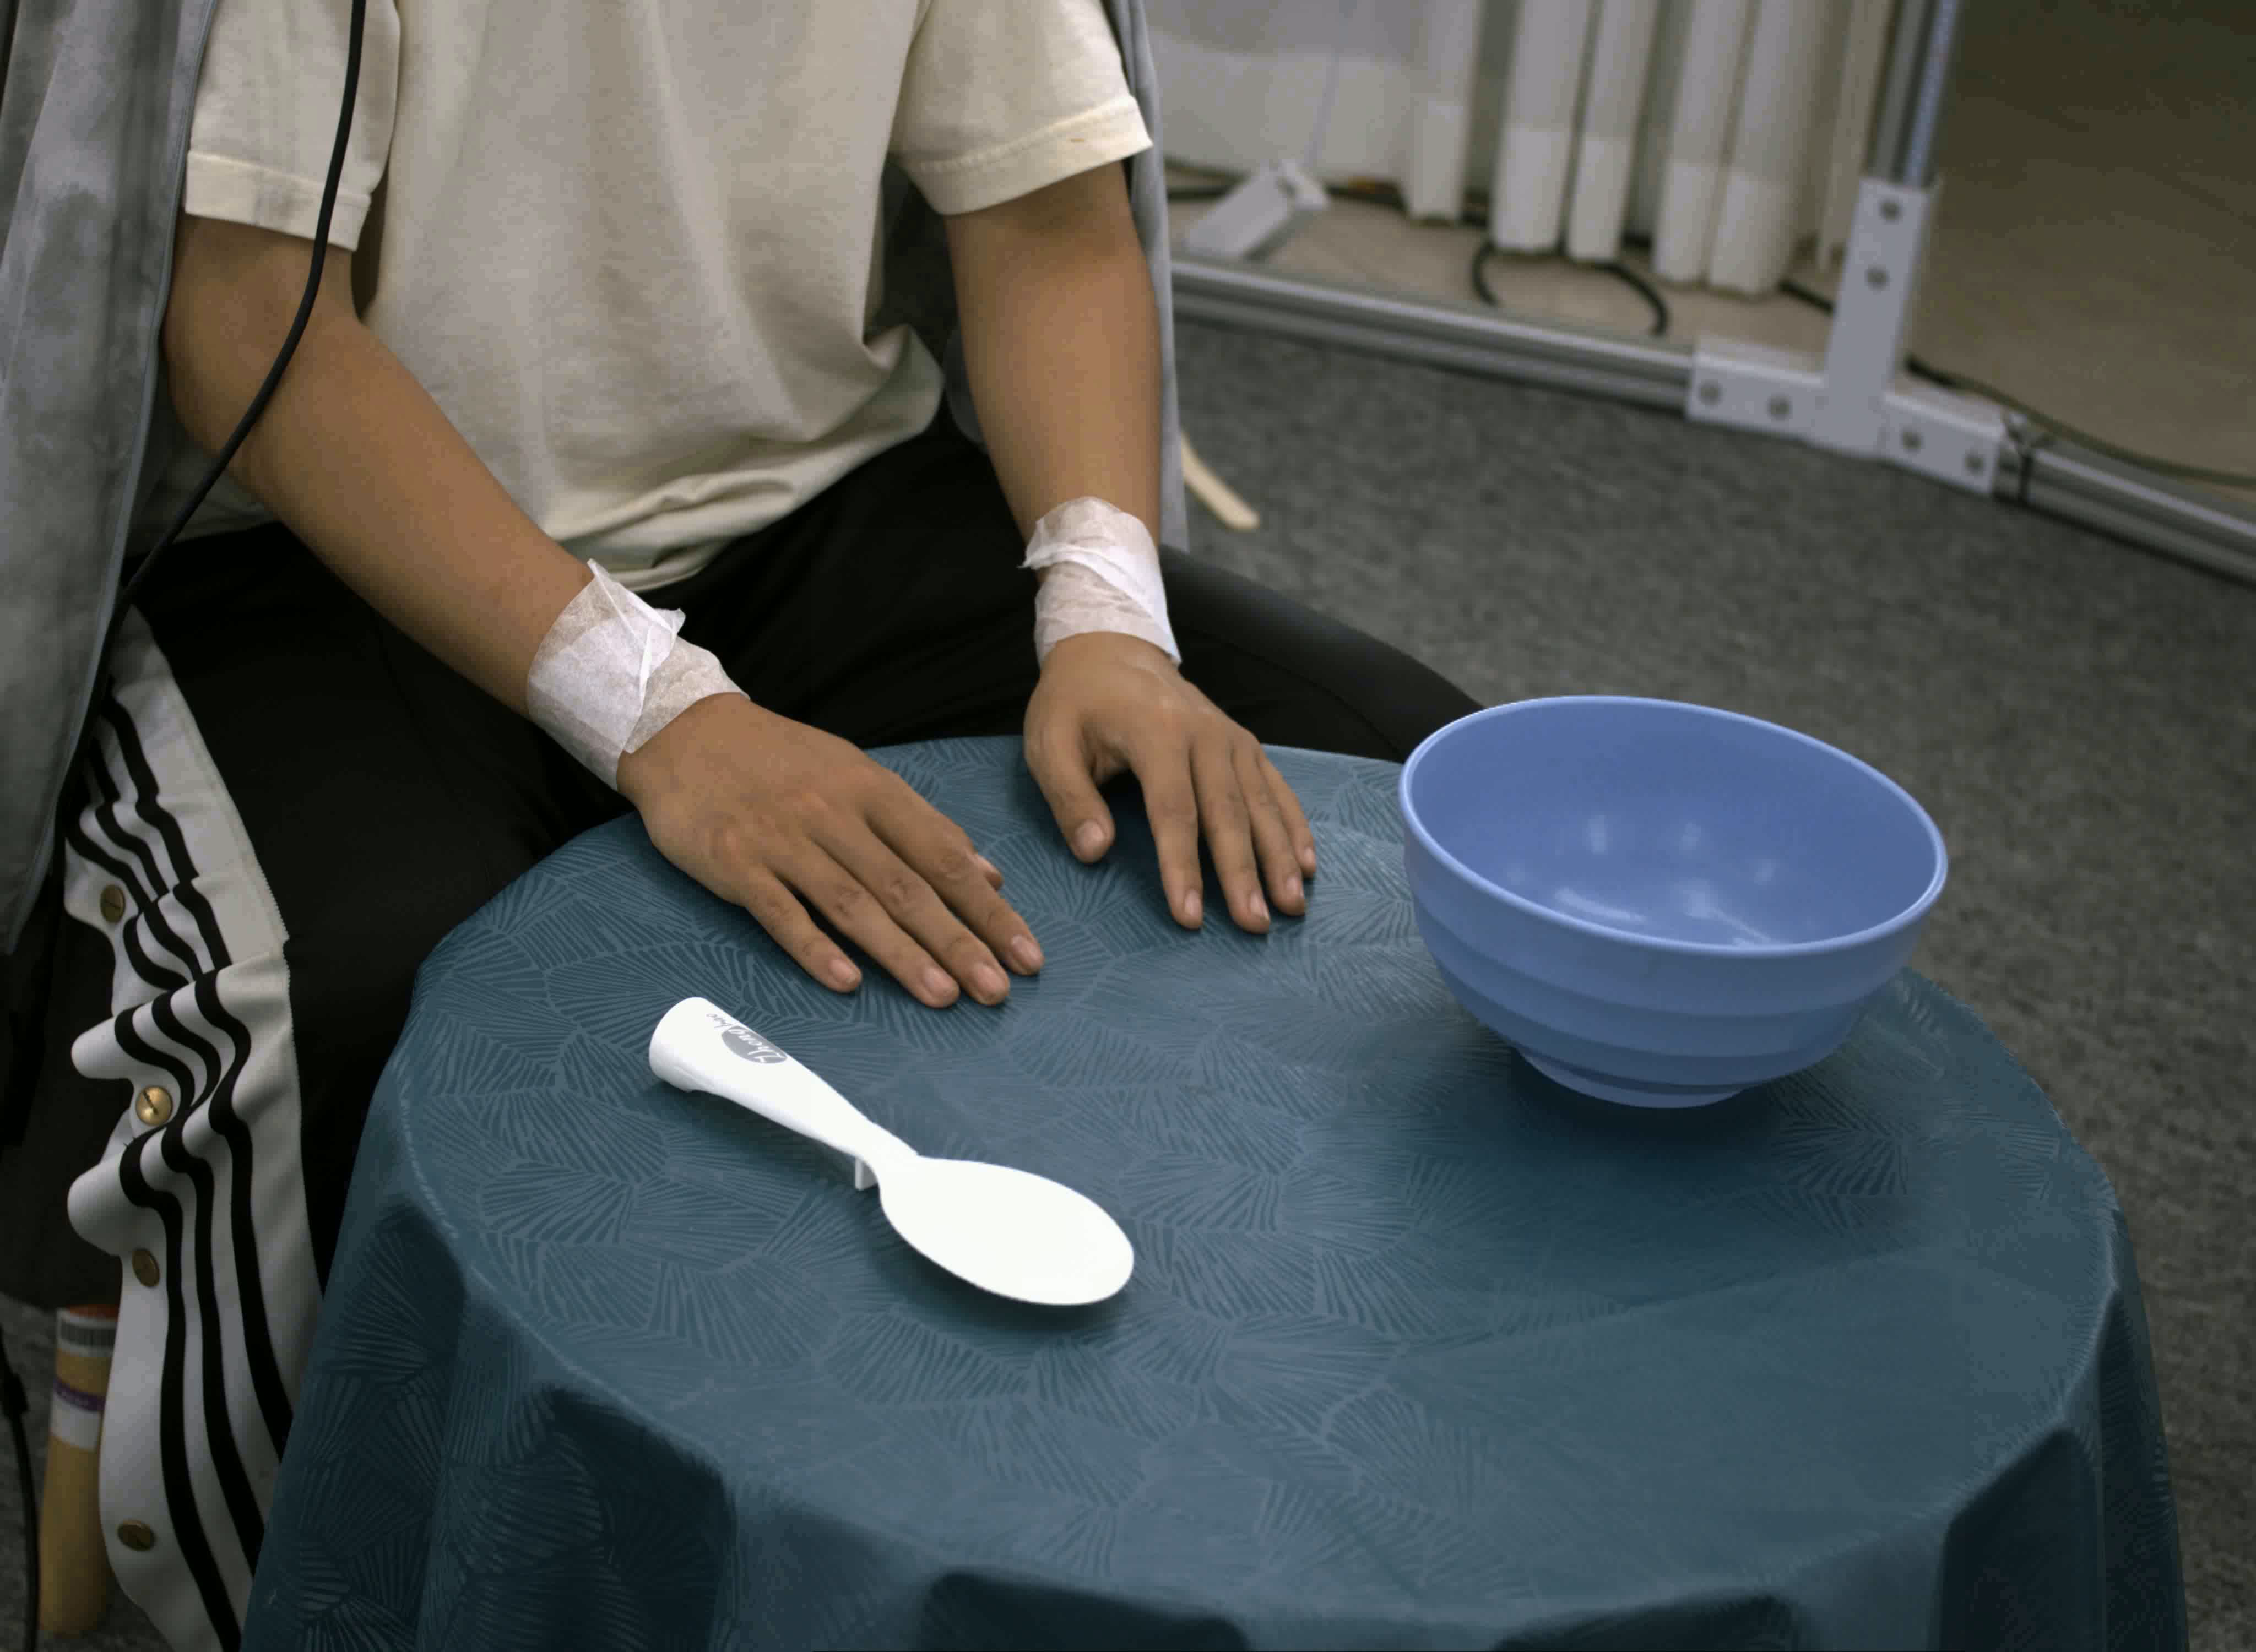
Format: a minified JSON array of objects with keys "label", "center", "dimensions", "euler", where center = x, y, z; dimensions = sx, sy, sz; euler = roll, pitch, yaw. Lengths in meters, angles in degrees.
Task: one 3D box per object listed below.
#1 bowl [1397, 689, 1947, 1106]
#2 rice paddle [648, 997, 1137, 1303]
[{"label":"bowl","center":[0.188,0.036,1.911],"dimensions":[0.196,0.095,0.198],"euler":[5,29,-3]},{"label":"rice paddle","center":[-0.079,0.110,1.780],"dimensions":[0.207,0.029,0.068],"euler":[27,35,35]}]
